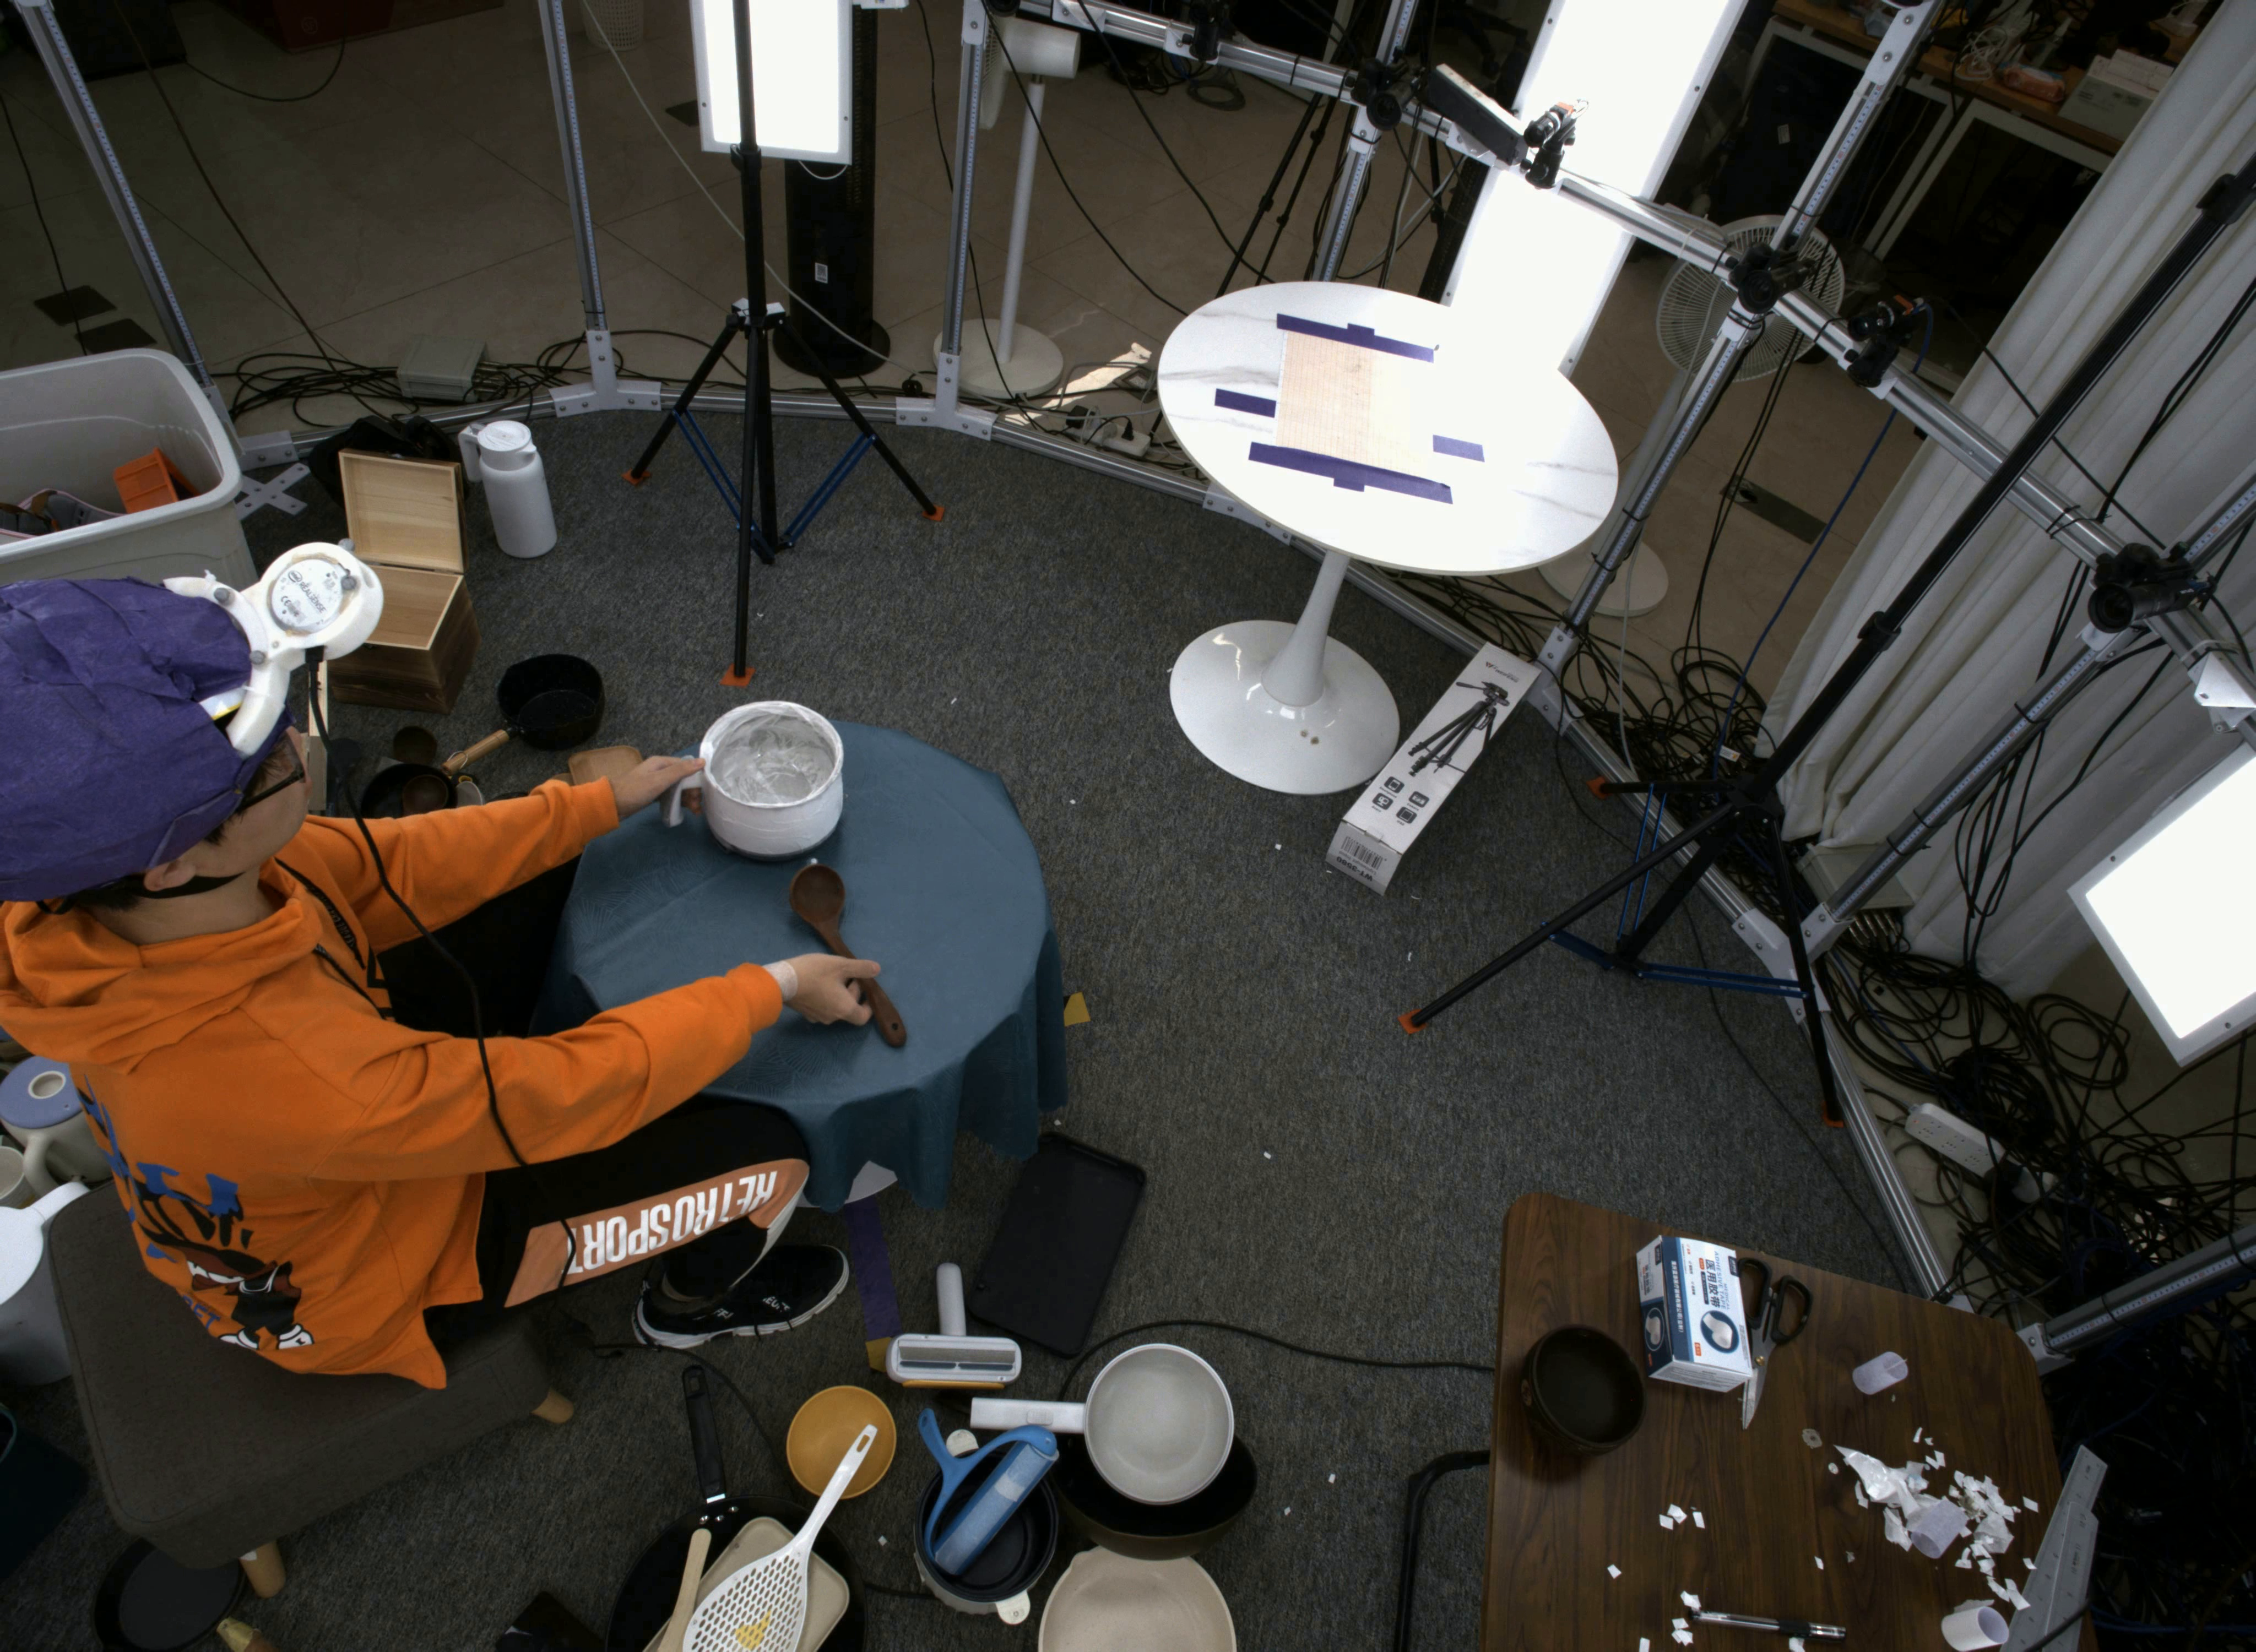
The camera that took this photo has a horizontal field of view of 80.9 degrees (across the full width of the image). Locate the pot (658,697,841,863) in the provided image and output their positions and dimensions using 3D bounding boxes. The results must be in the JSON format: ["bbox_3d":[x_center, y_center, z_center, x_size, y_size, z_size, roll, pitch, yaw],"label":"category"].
[{"bbox_3d":[-0.483,-0.051,1.648,0.235,0.139,0.174,-8,55,-20],"label":"pot"}]

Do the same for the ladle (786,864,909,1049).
[{"bbox_3d":[-0.335,0.153,1.582,0.077,0.066,0.254,-22,61,-34],"label":"ladle"}]
